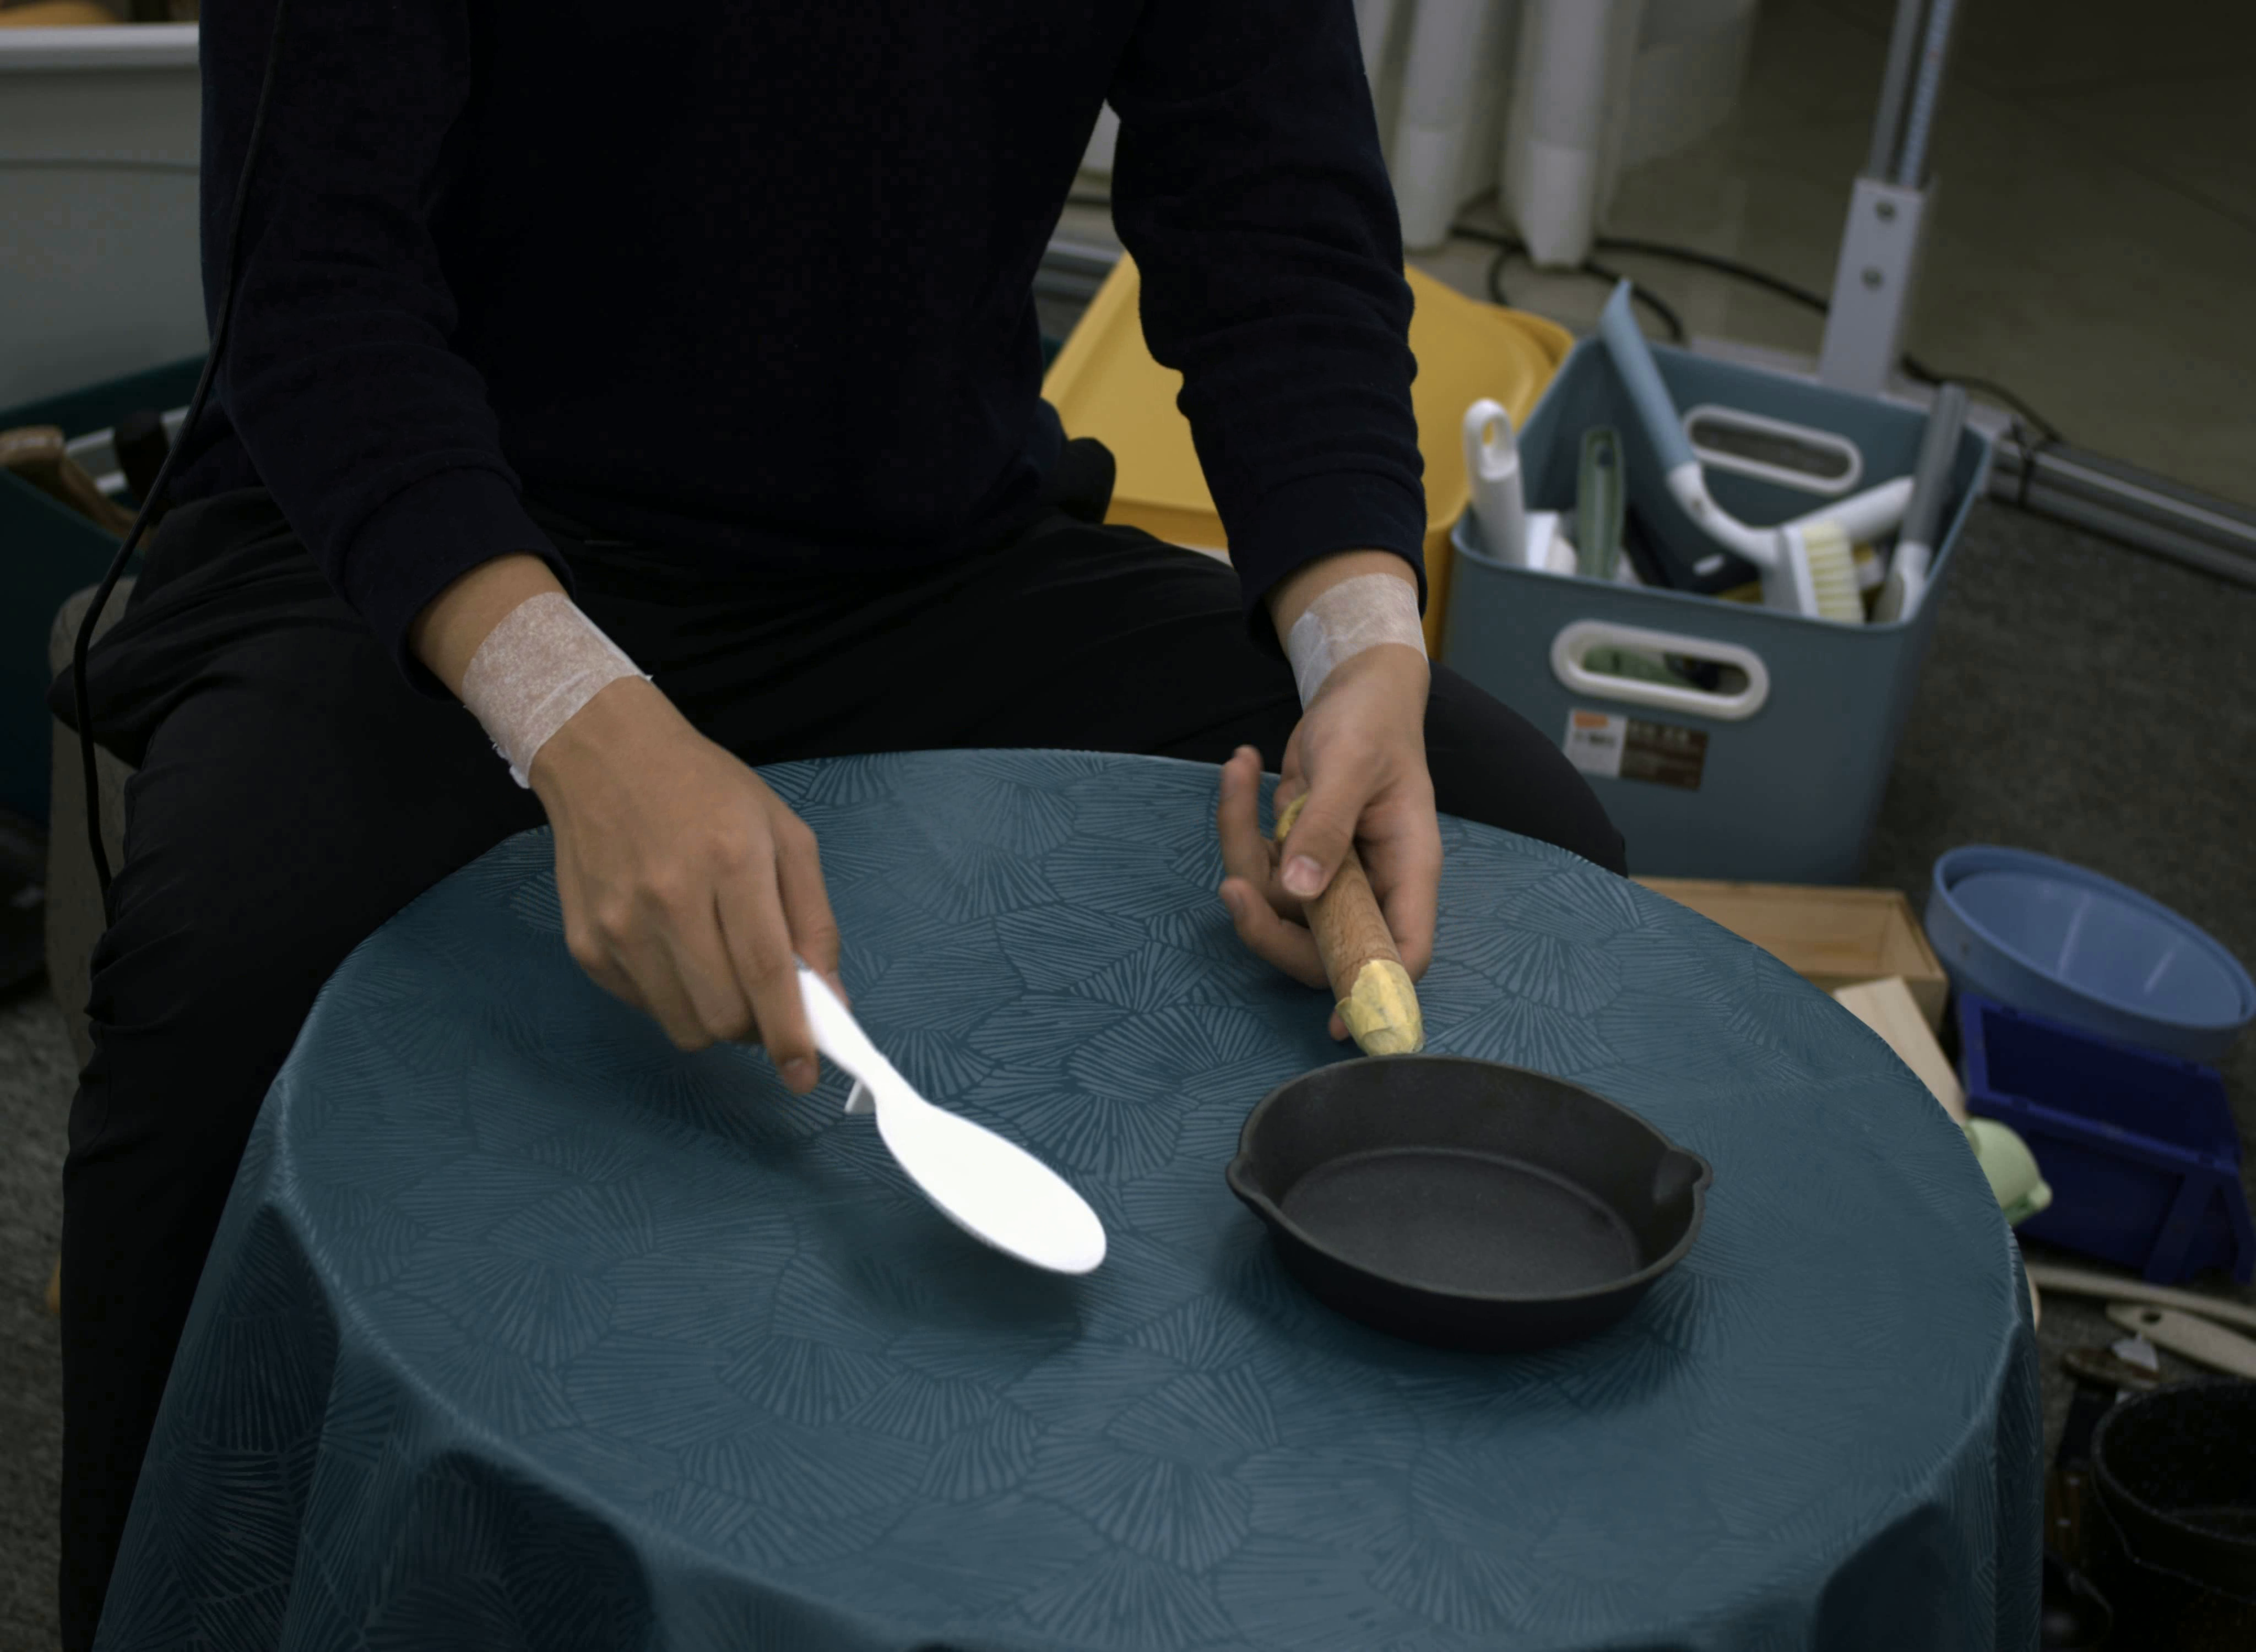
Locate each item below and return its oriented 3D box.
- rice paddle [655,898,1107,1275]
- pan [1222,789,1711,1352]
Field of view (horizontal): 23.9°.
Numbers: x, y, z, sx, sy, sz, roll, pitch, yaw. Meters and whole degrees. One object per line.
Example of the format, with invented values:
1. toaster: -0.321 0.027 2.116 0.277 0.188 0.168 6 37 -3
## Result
1. rice paddle: -0.082 0.089 1.771 0.207 0.029 0.068 38 23 33
2. pan: 0.098 0.082 1.851 0.168 0.049 0.327 0 29 -11
